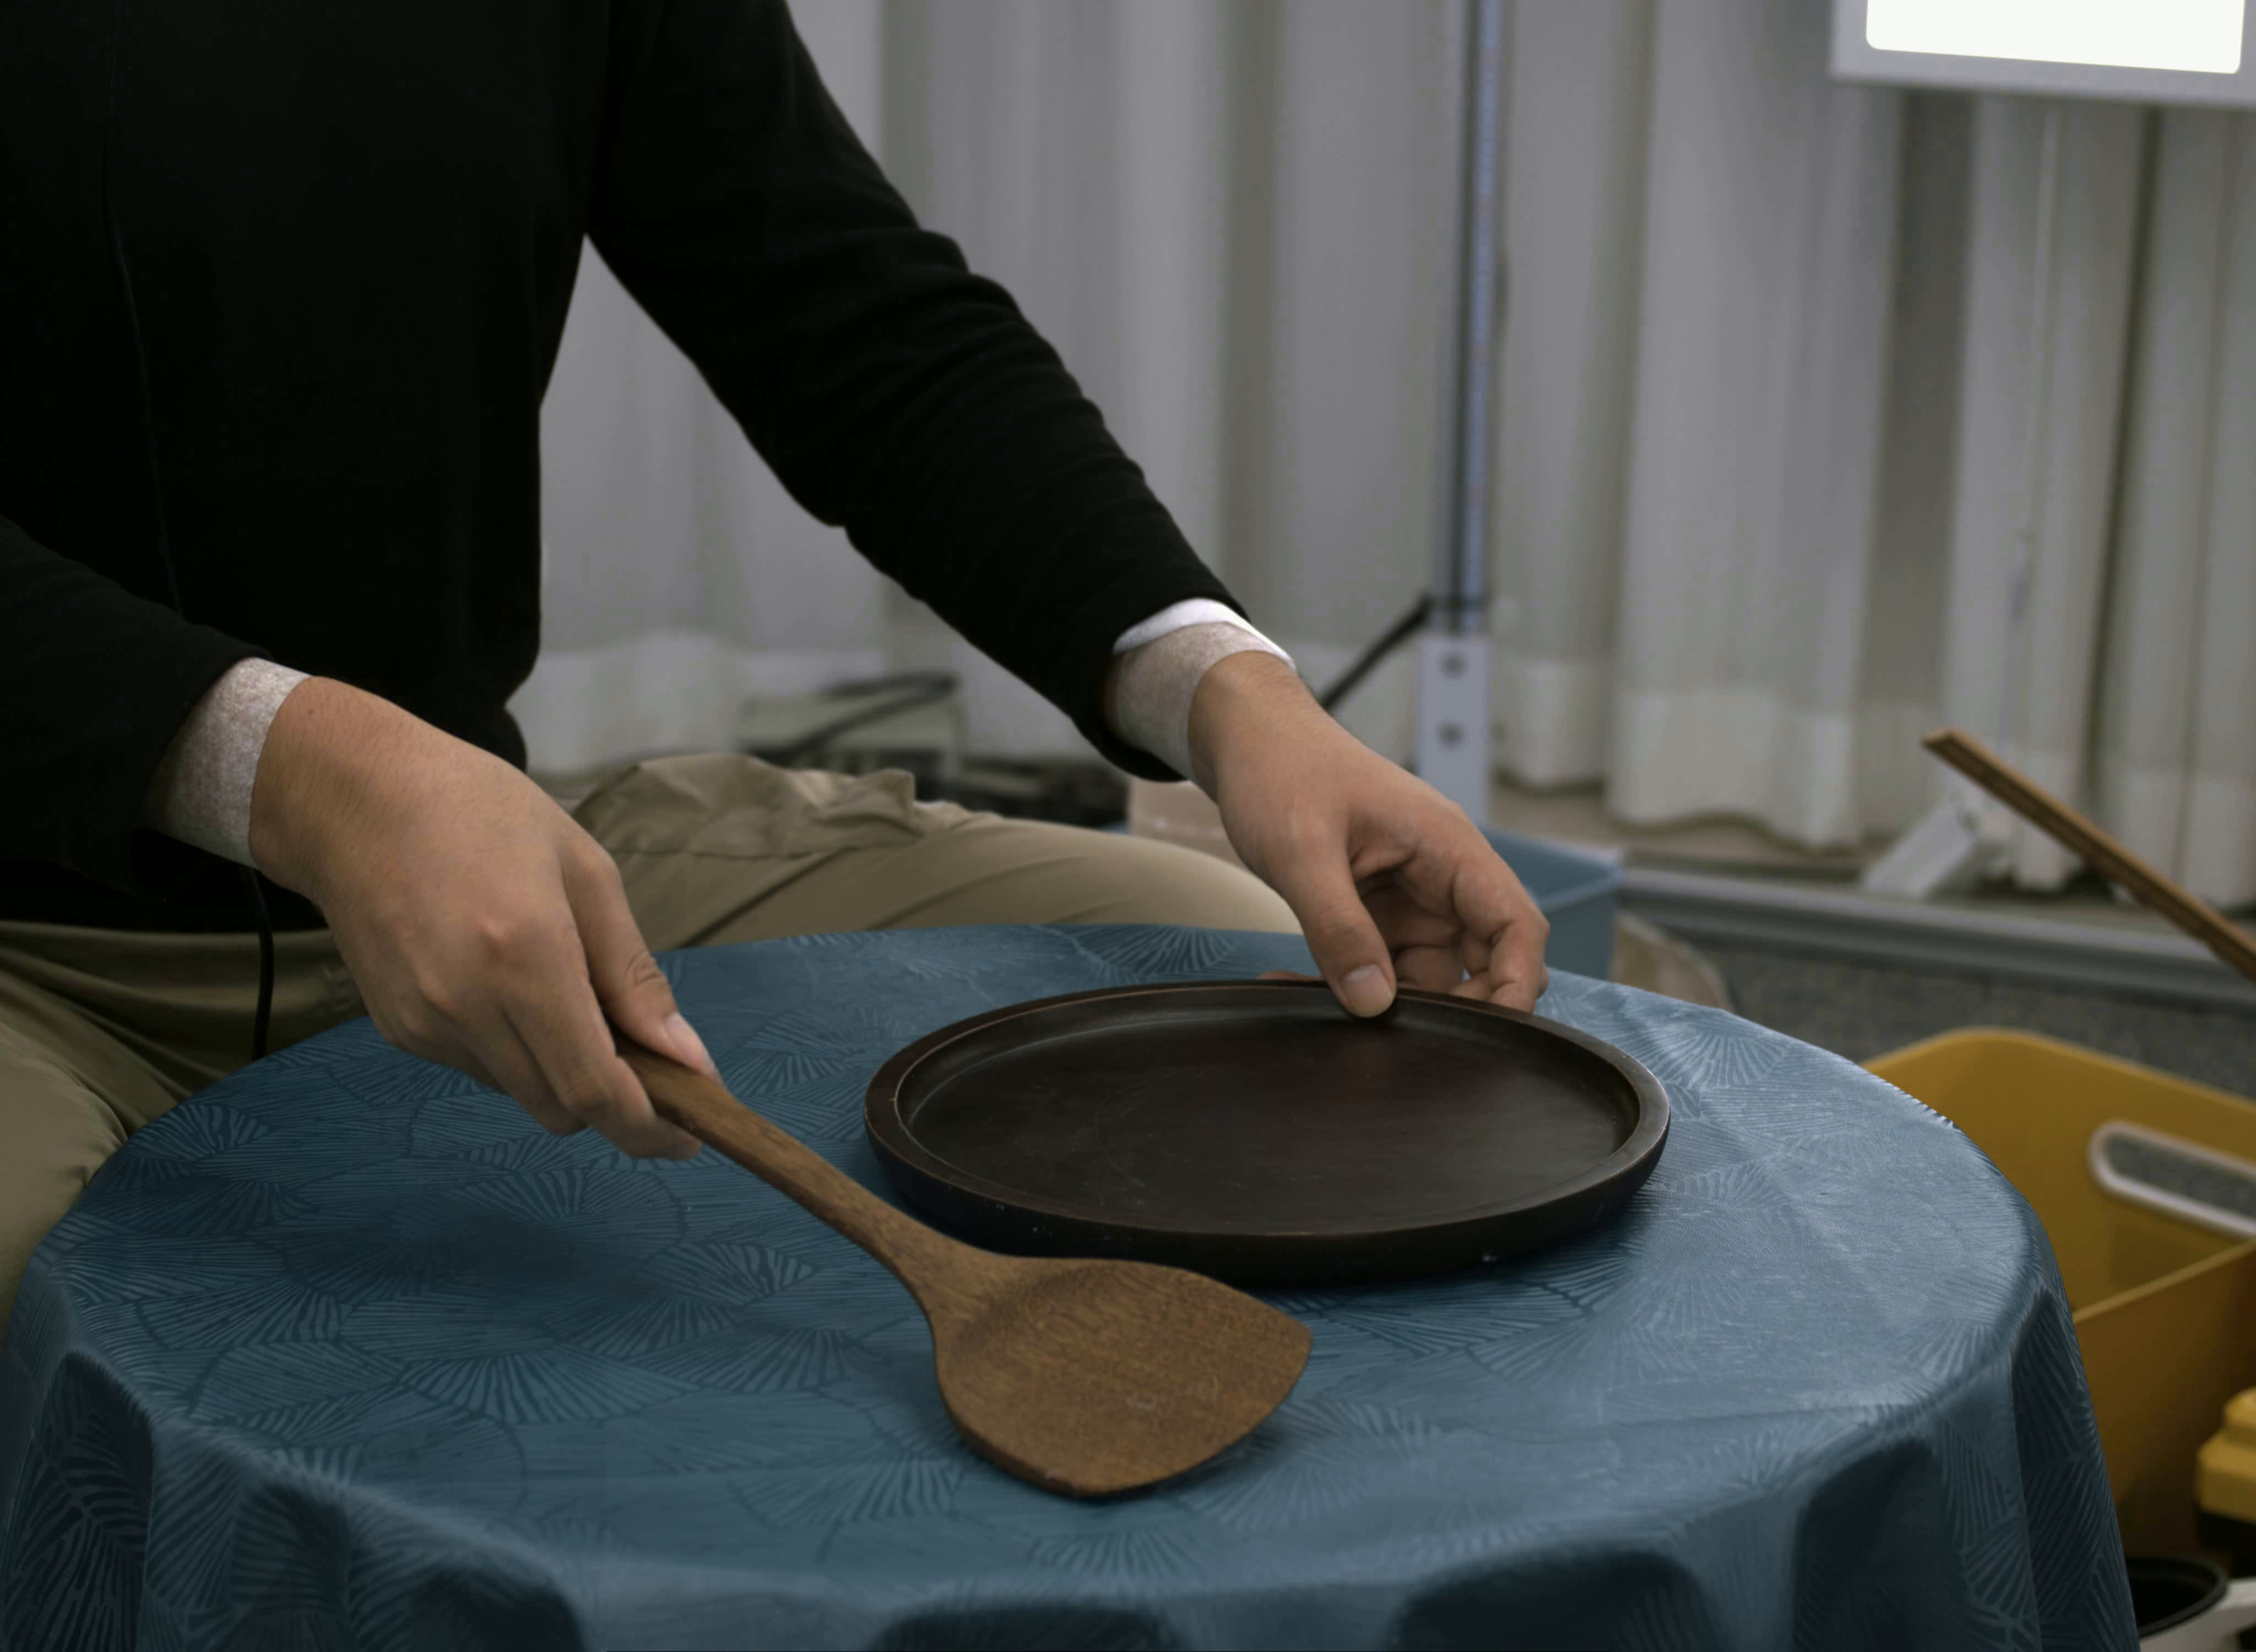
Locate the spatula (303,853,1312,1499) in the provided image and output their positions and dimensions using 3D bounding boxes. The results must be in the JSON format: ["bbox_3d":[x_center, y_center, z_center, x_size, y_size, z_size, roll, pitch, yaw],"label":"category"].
[{"bbox_3d":[-0.110,0.088,1.506,0.381,0.016,0.096,30,45,33],"label":"spatula"}]

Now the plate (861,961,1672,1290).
[{"bbox_3d":[0.043,0.094,1.644,0.254,0.029,0.253,-1,16,1],"label":"plate"}]
